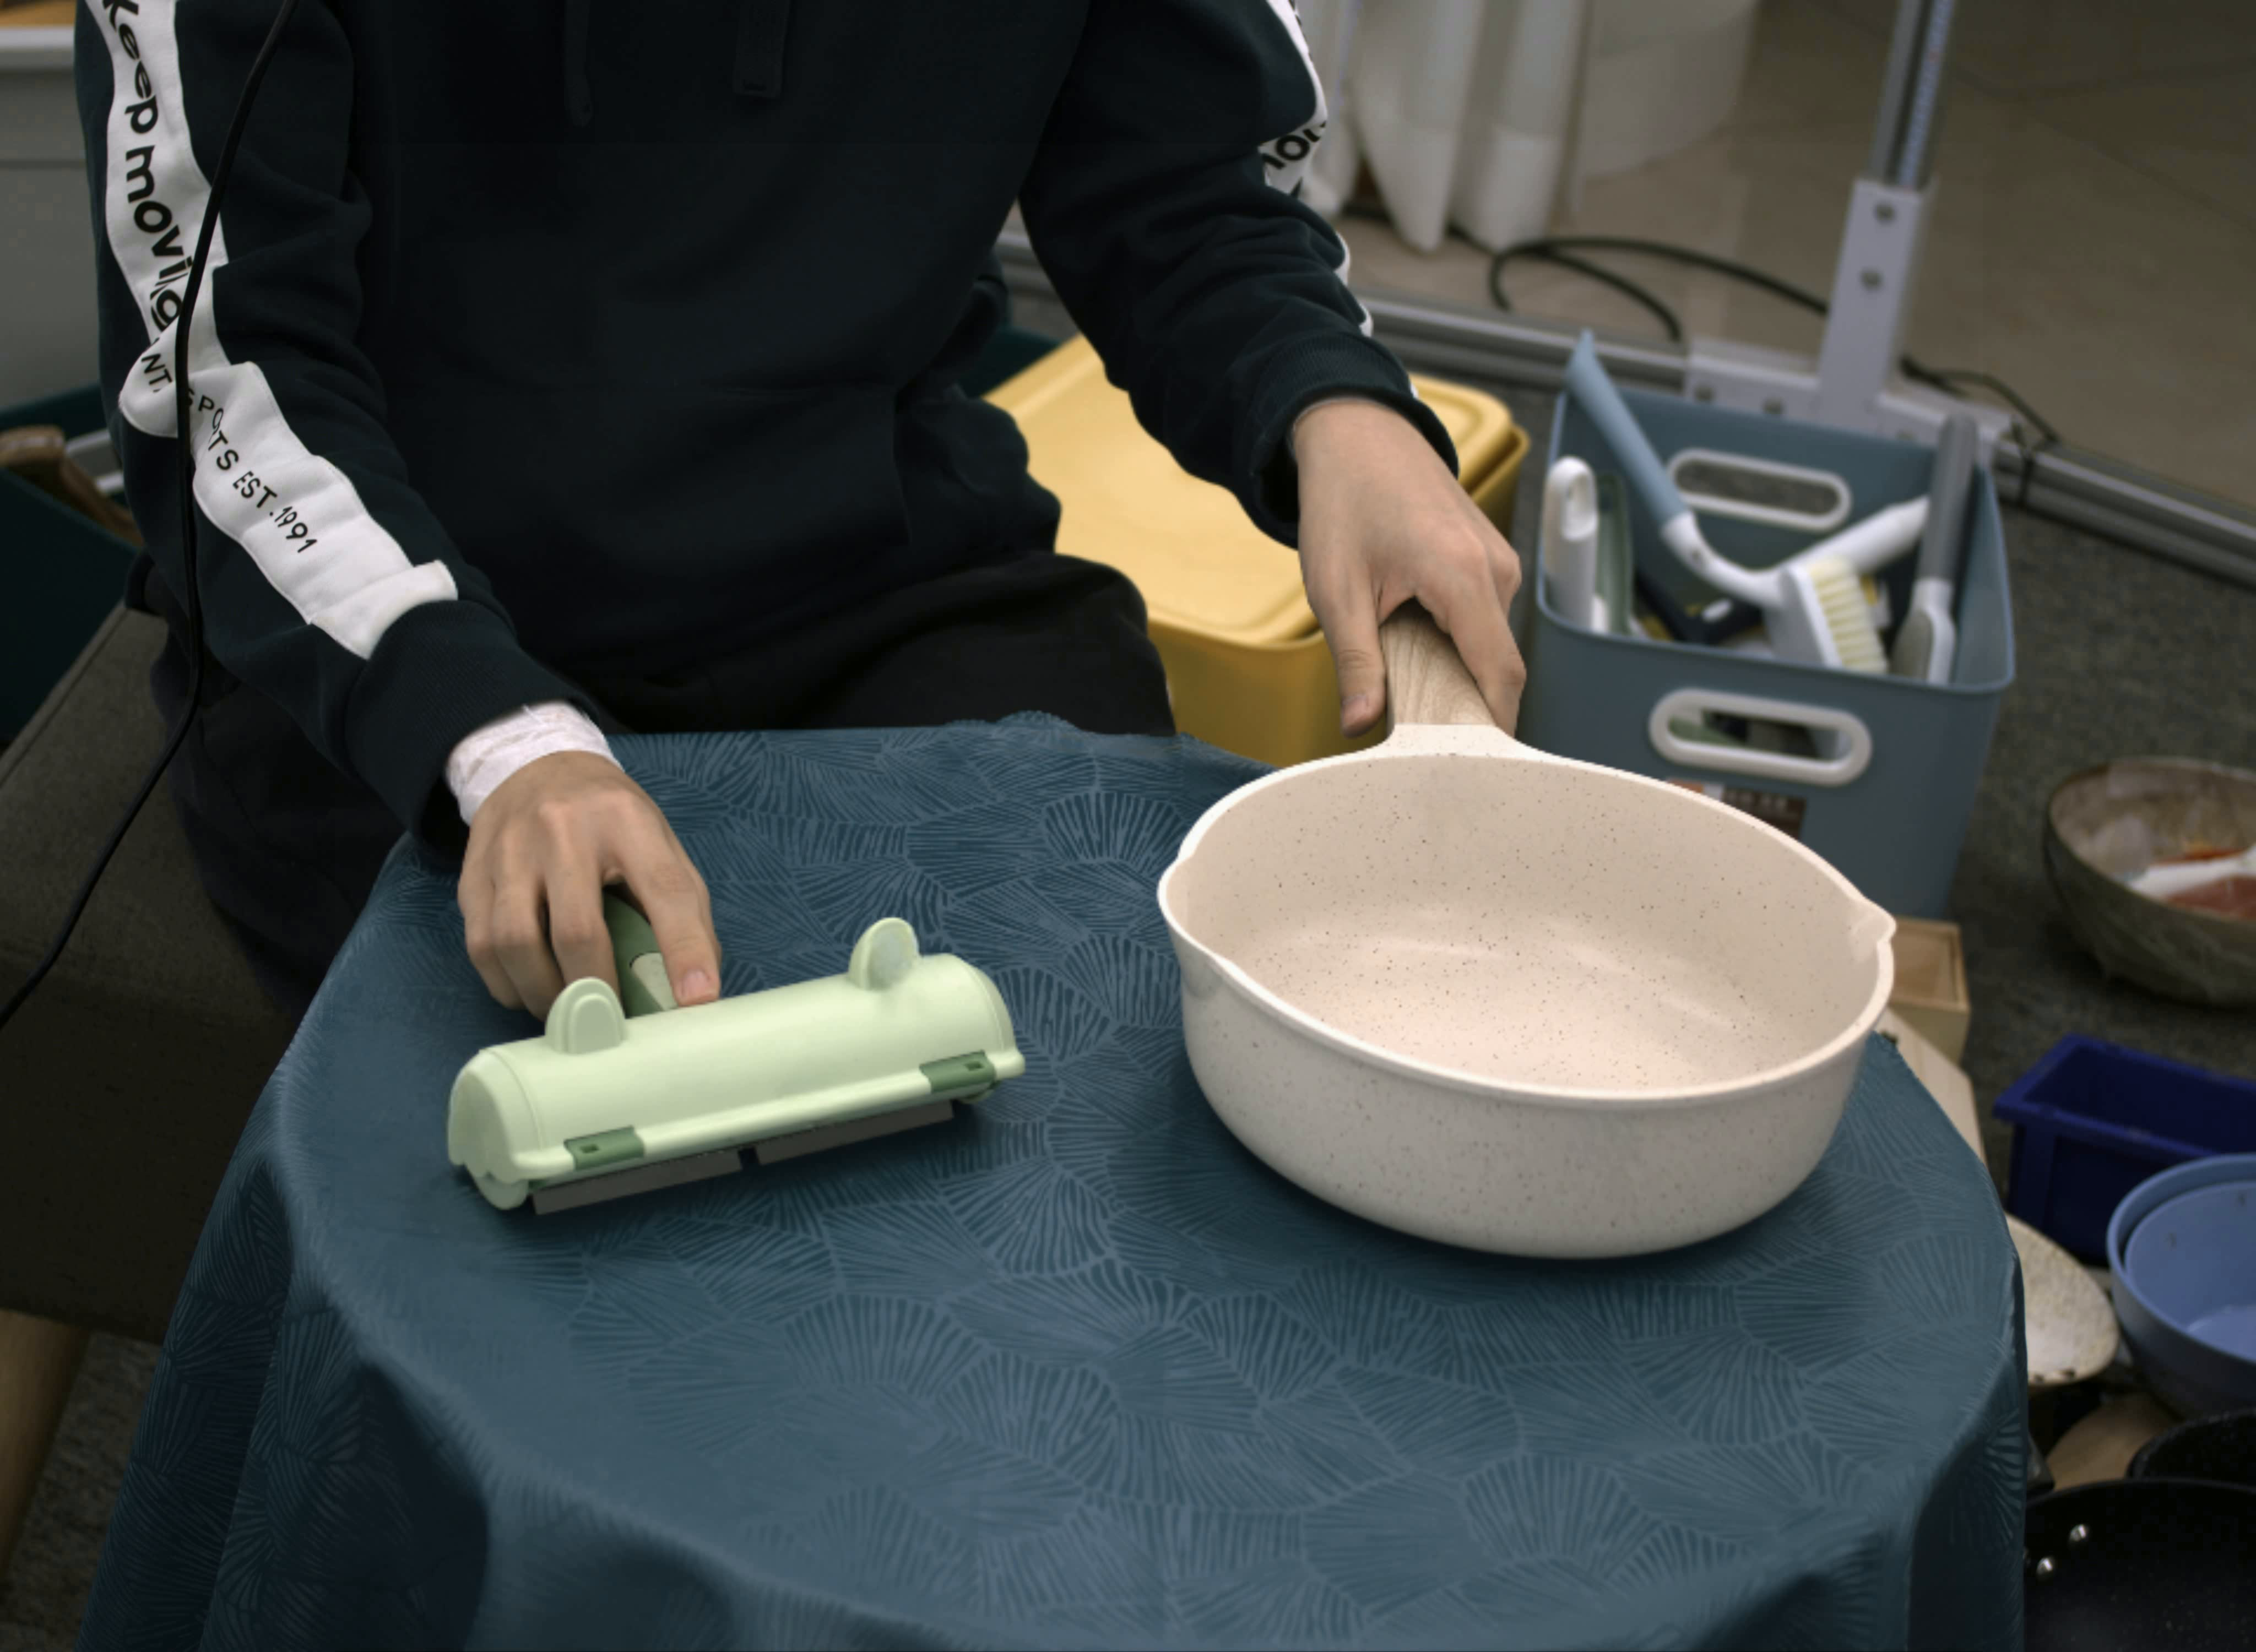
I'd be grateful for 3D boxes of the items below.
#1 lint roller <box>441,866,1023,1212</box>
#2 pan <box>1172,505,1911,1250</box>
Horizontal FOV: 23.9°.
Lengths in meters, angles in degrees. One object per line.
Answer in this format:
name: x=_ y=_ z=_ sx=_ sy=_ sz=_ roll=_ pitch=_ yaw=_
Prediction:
lint roller: x=-0.159 y=0.047 z=1.819 sx=0.197 sy=0.082 sz=0.185 roll=-11 pitch=41 yaw=-31
pan: x=0.126 y=0.016 z=1.931 sx=0.262 sy=0.101 sz=0.438 roll=-1 pitch=27 yaw=-11
